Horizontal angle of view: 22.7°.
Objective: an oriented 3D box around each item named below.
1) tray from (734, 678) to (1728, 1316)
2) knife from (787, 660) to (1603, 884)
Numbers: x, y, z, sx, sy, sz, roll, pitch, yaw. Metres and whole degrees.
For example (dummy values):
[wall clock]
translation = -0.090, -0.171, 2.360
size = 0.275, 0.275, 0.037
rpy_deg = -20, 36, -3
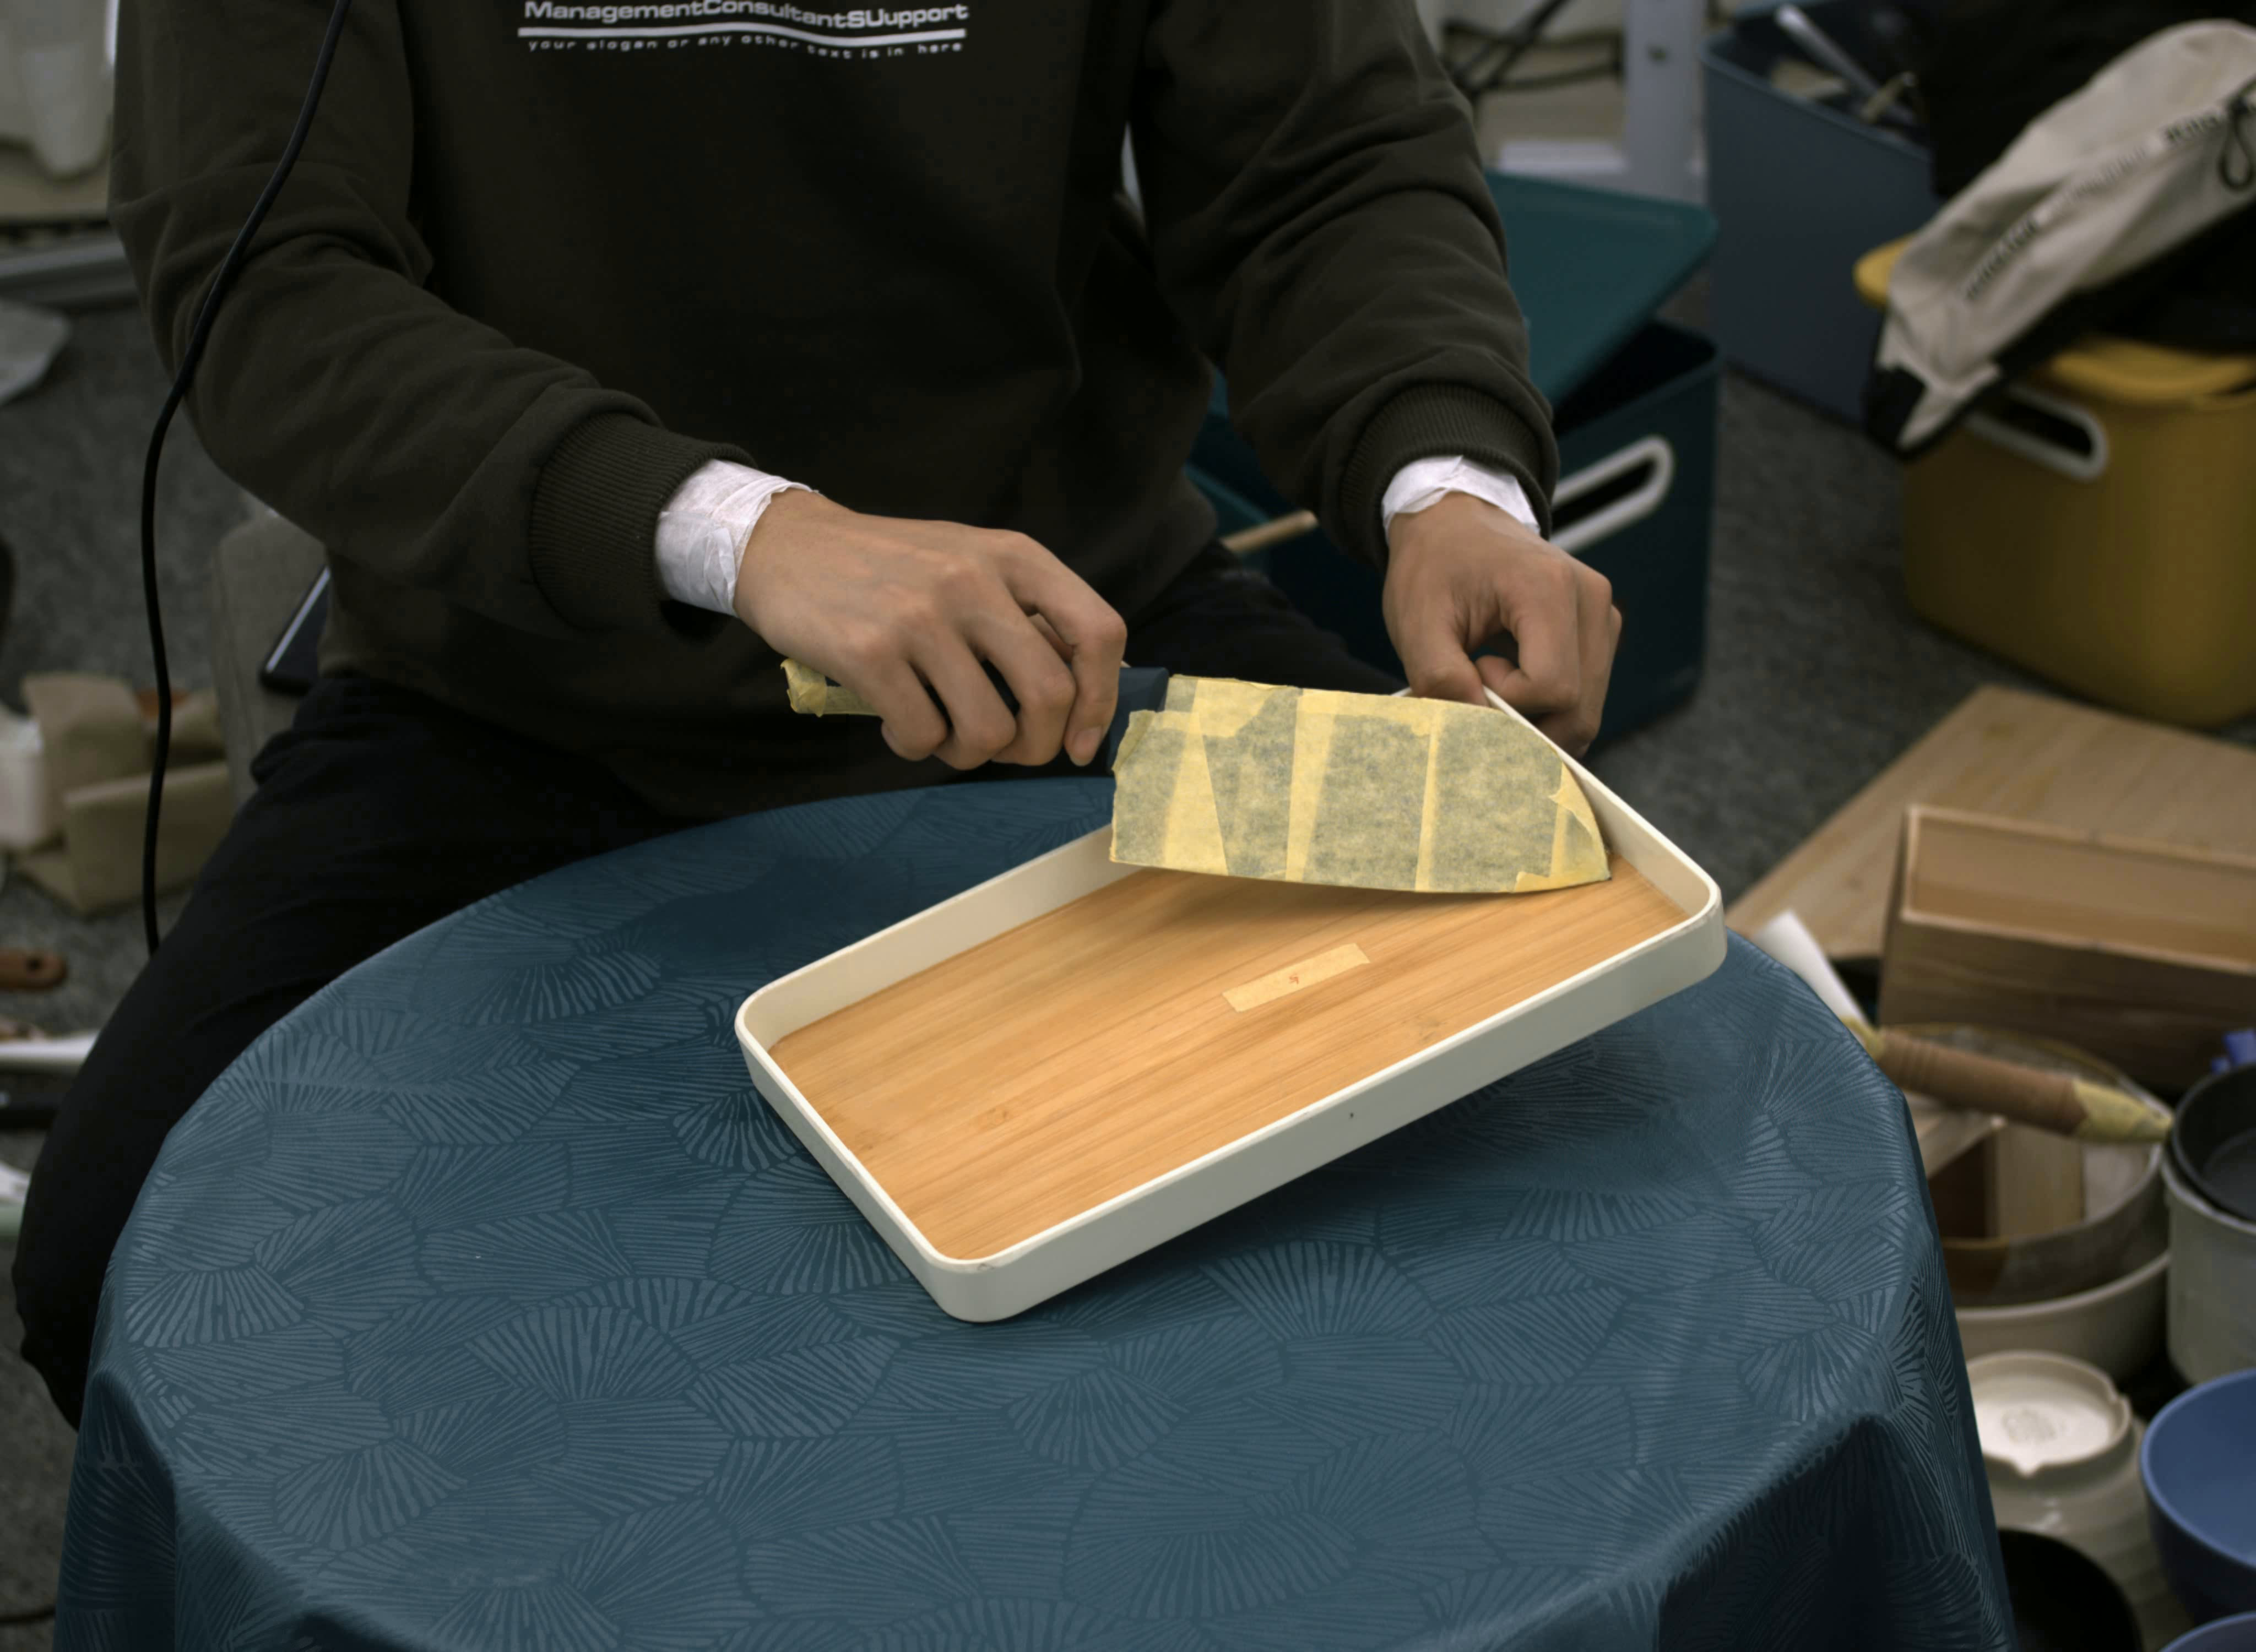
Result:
[tray]
translation = 0.033, 0.053, 1.899
size = 0.302, 0.027, 0.193
rpy_deg = -24, 35, -17
[knife]
translation = 0.022, -0.019, 1.942
size = 0.288, 0.027, 0.082
rpy_deg = 7, 64, 6
